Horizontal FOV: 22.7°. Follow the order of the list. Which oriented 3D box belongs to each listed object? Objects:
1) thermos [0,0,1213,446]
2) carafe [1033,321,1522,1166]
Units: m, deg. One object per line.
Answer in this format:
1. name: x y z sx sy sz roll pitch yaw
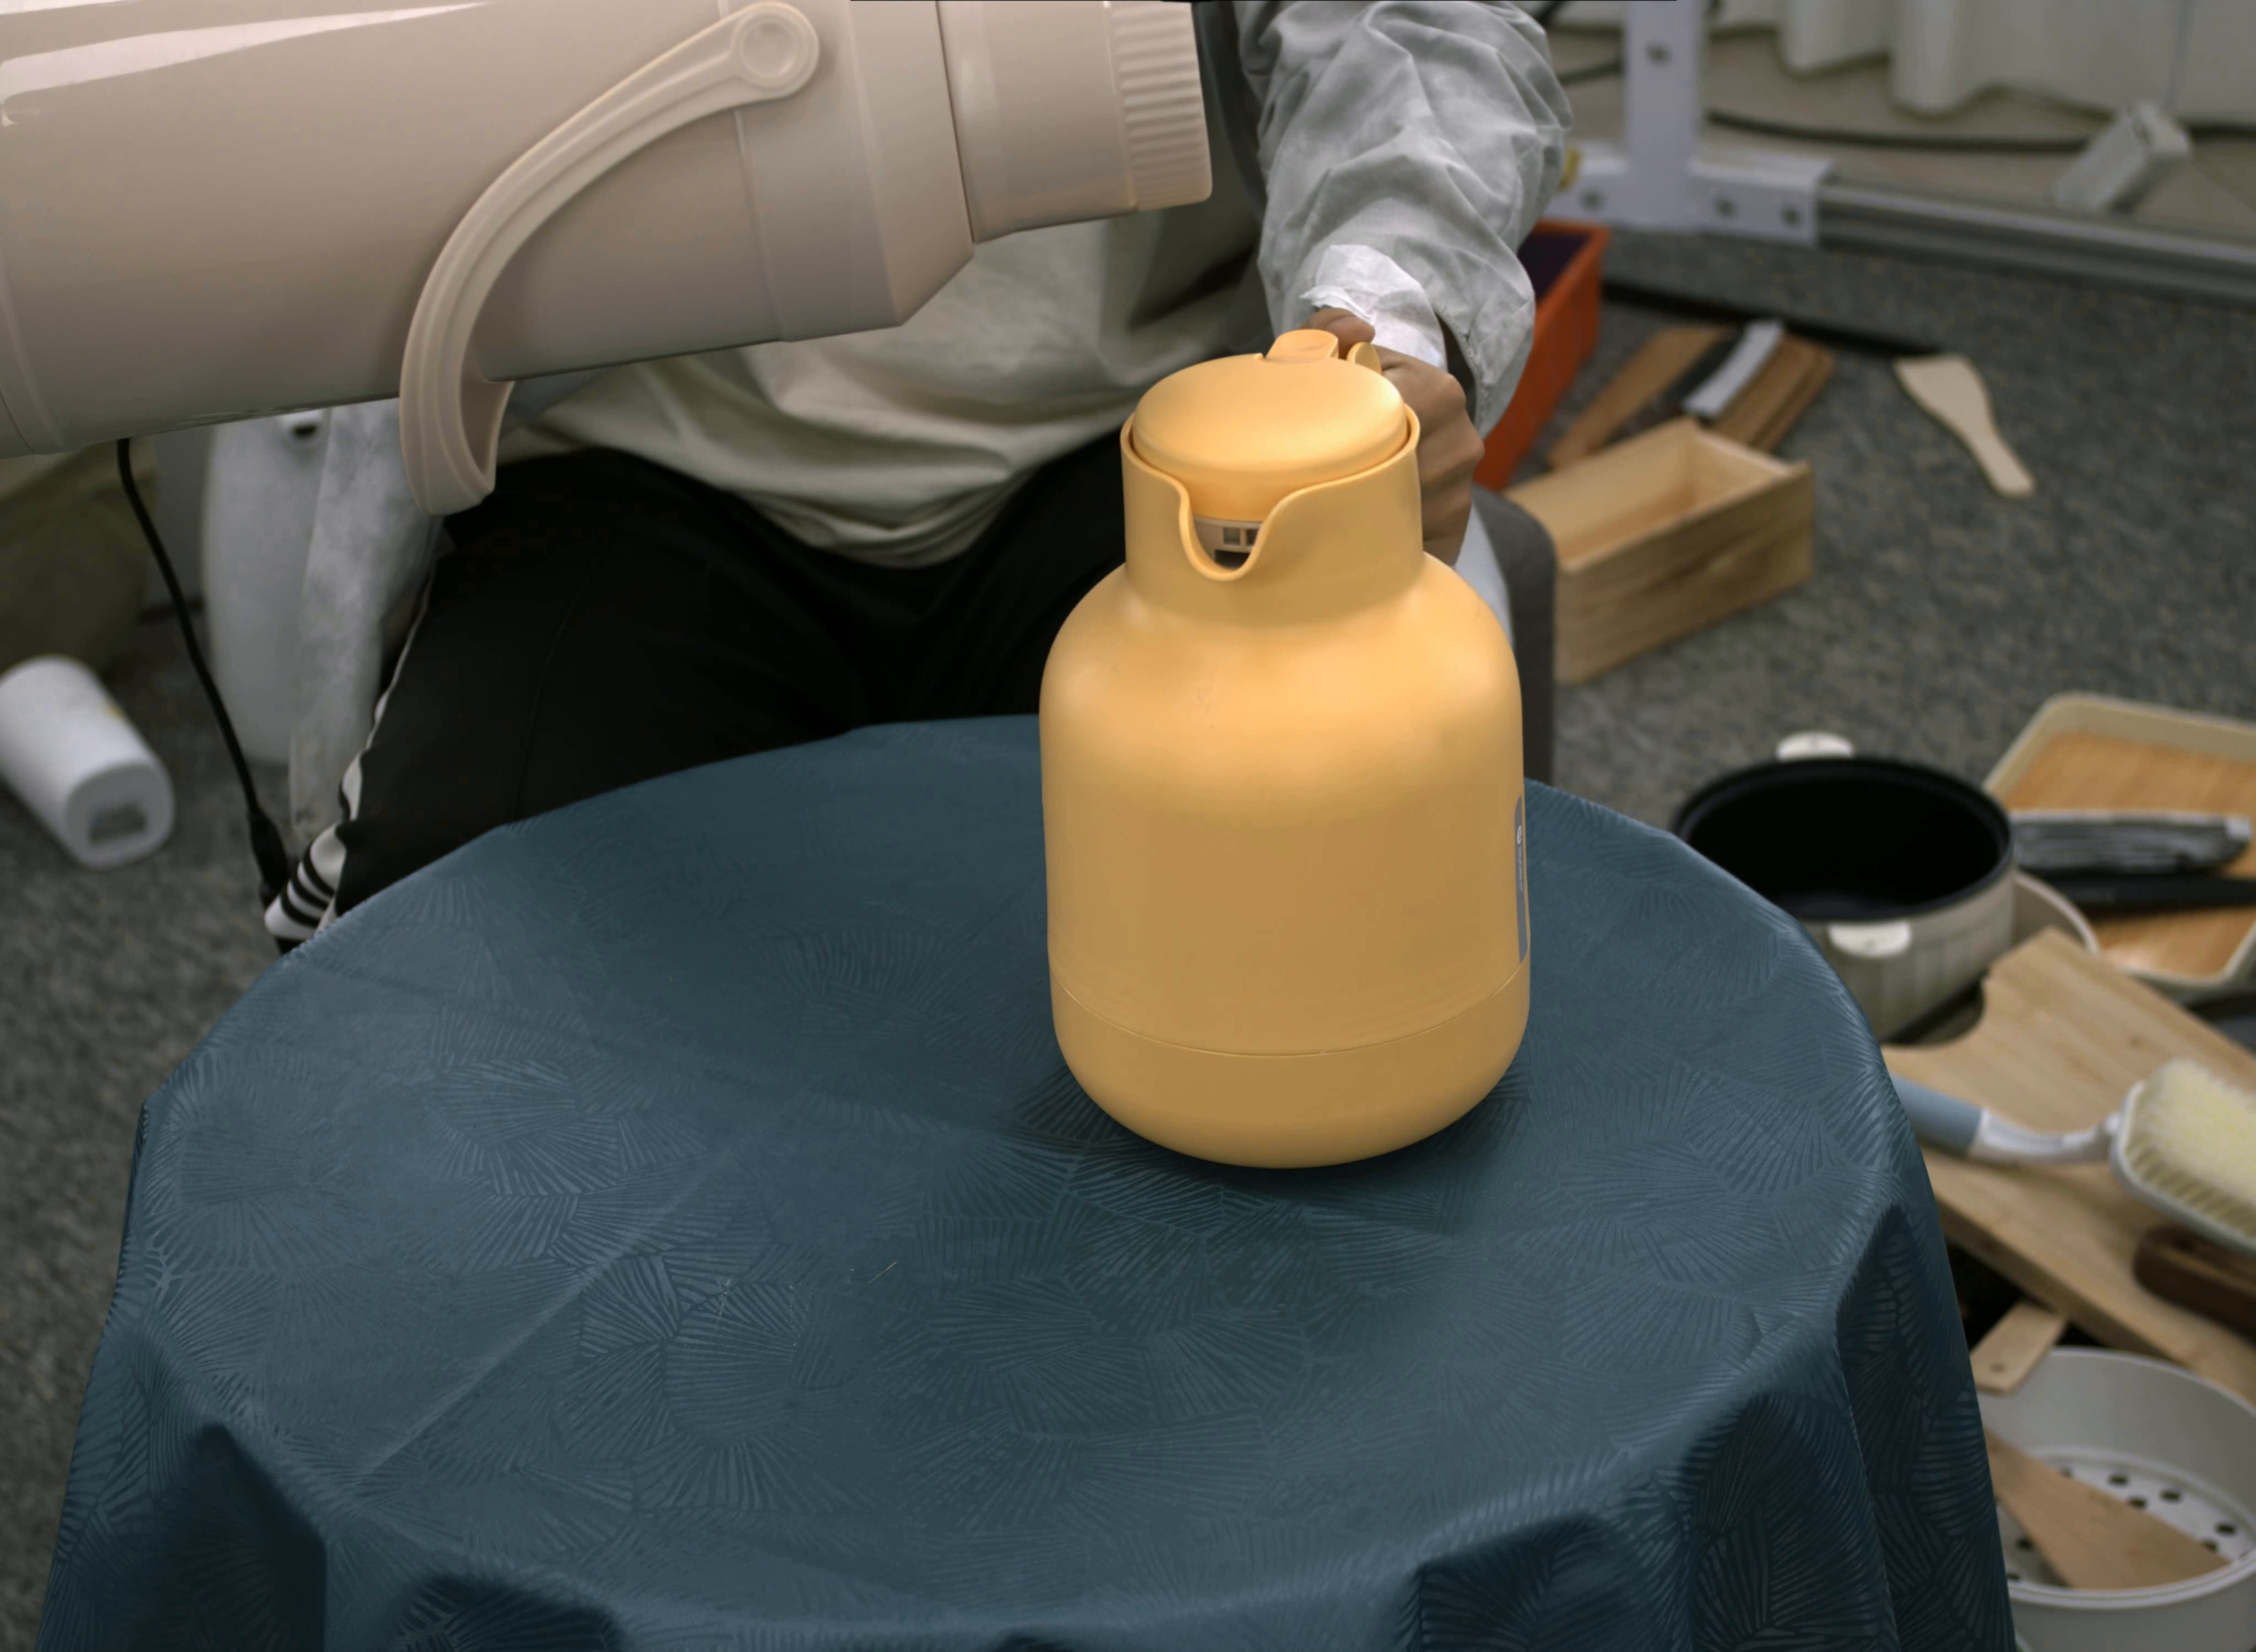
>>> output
1. thermos: -0.181 -0.237 1.774 0.404 0.208 0.175 -8 -2 0
2. carafe: 0.055 -0.037 1.880 0.162 0.257 0.206 7 29 14
